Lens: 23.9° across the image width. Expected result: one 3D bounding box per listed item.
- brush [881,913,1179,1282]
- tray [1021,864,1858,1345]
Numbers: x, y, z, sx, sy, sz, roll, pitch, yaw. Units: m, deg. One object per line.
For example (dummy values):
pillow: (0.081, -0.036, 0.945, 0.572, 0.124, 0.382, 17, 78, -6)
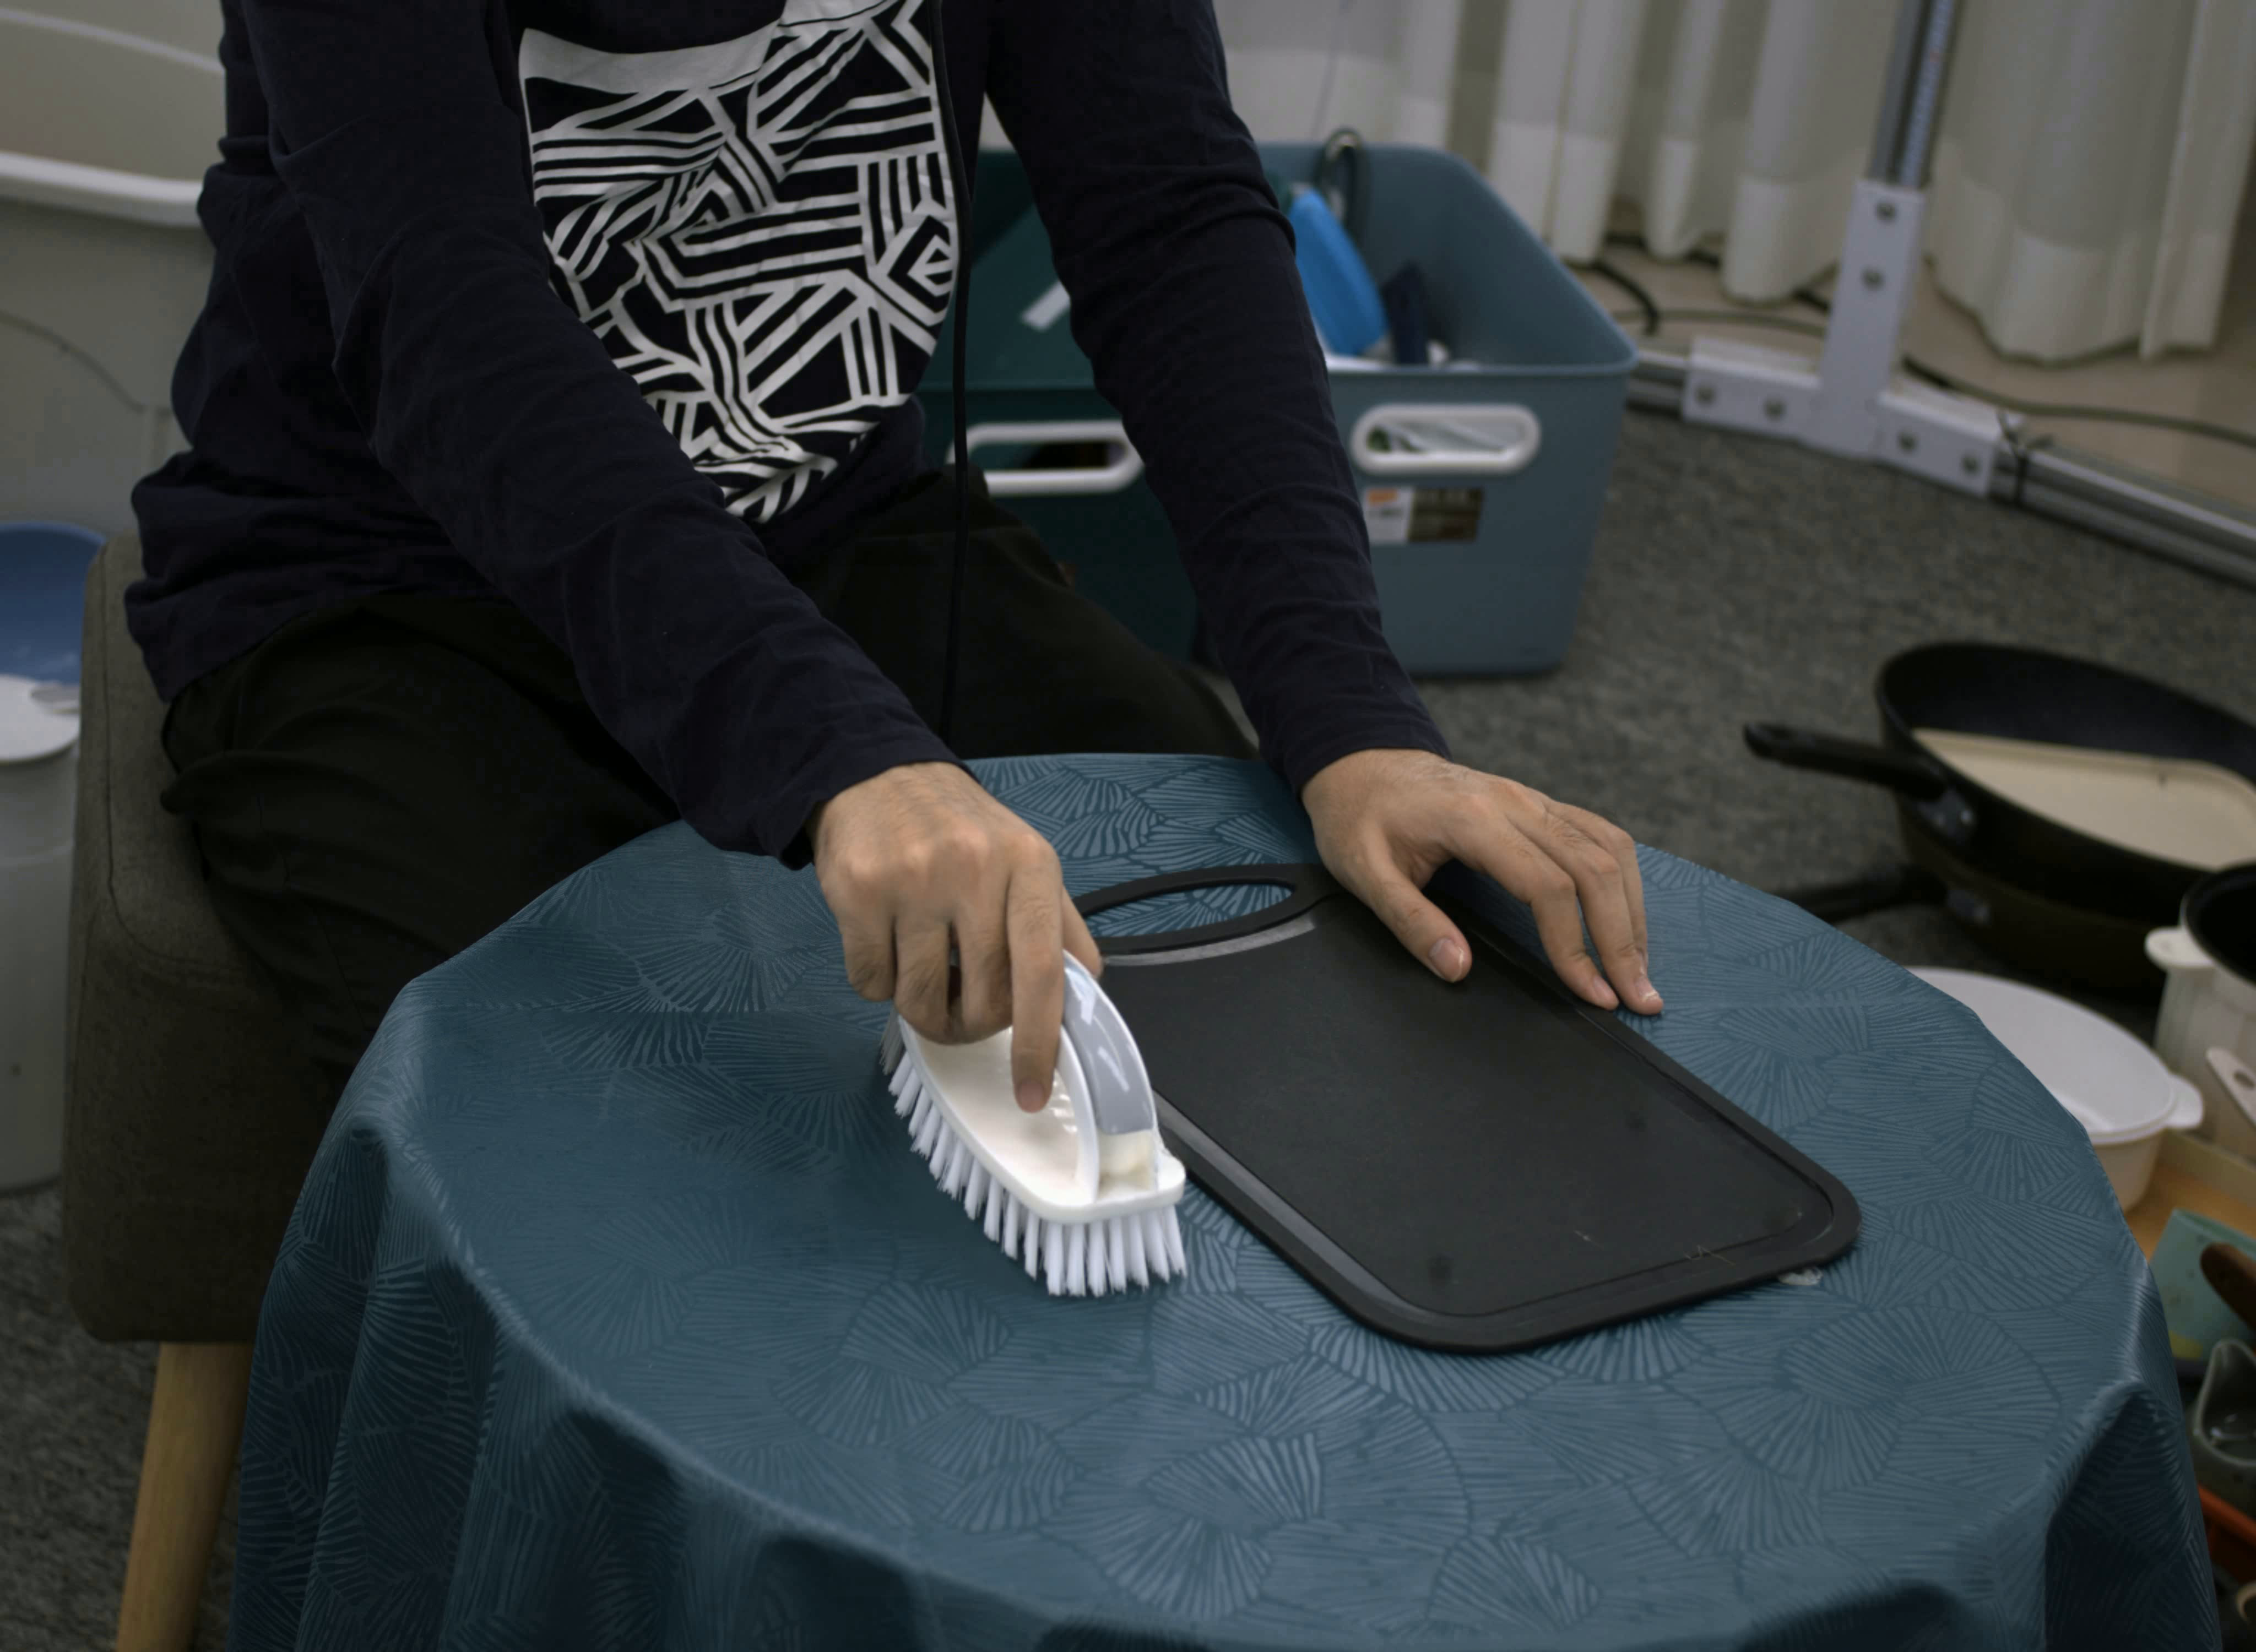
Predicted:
brush: (-0.040, 0.076, 1.791, 0.061, 0.094, 0.177, -6, 27, -27)
tray: (0.095, 0.089, 1.887, 0.210, 0.010, 0.328, -11, 31, -30)
